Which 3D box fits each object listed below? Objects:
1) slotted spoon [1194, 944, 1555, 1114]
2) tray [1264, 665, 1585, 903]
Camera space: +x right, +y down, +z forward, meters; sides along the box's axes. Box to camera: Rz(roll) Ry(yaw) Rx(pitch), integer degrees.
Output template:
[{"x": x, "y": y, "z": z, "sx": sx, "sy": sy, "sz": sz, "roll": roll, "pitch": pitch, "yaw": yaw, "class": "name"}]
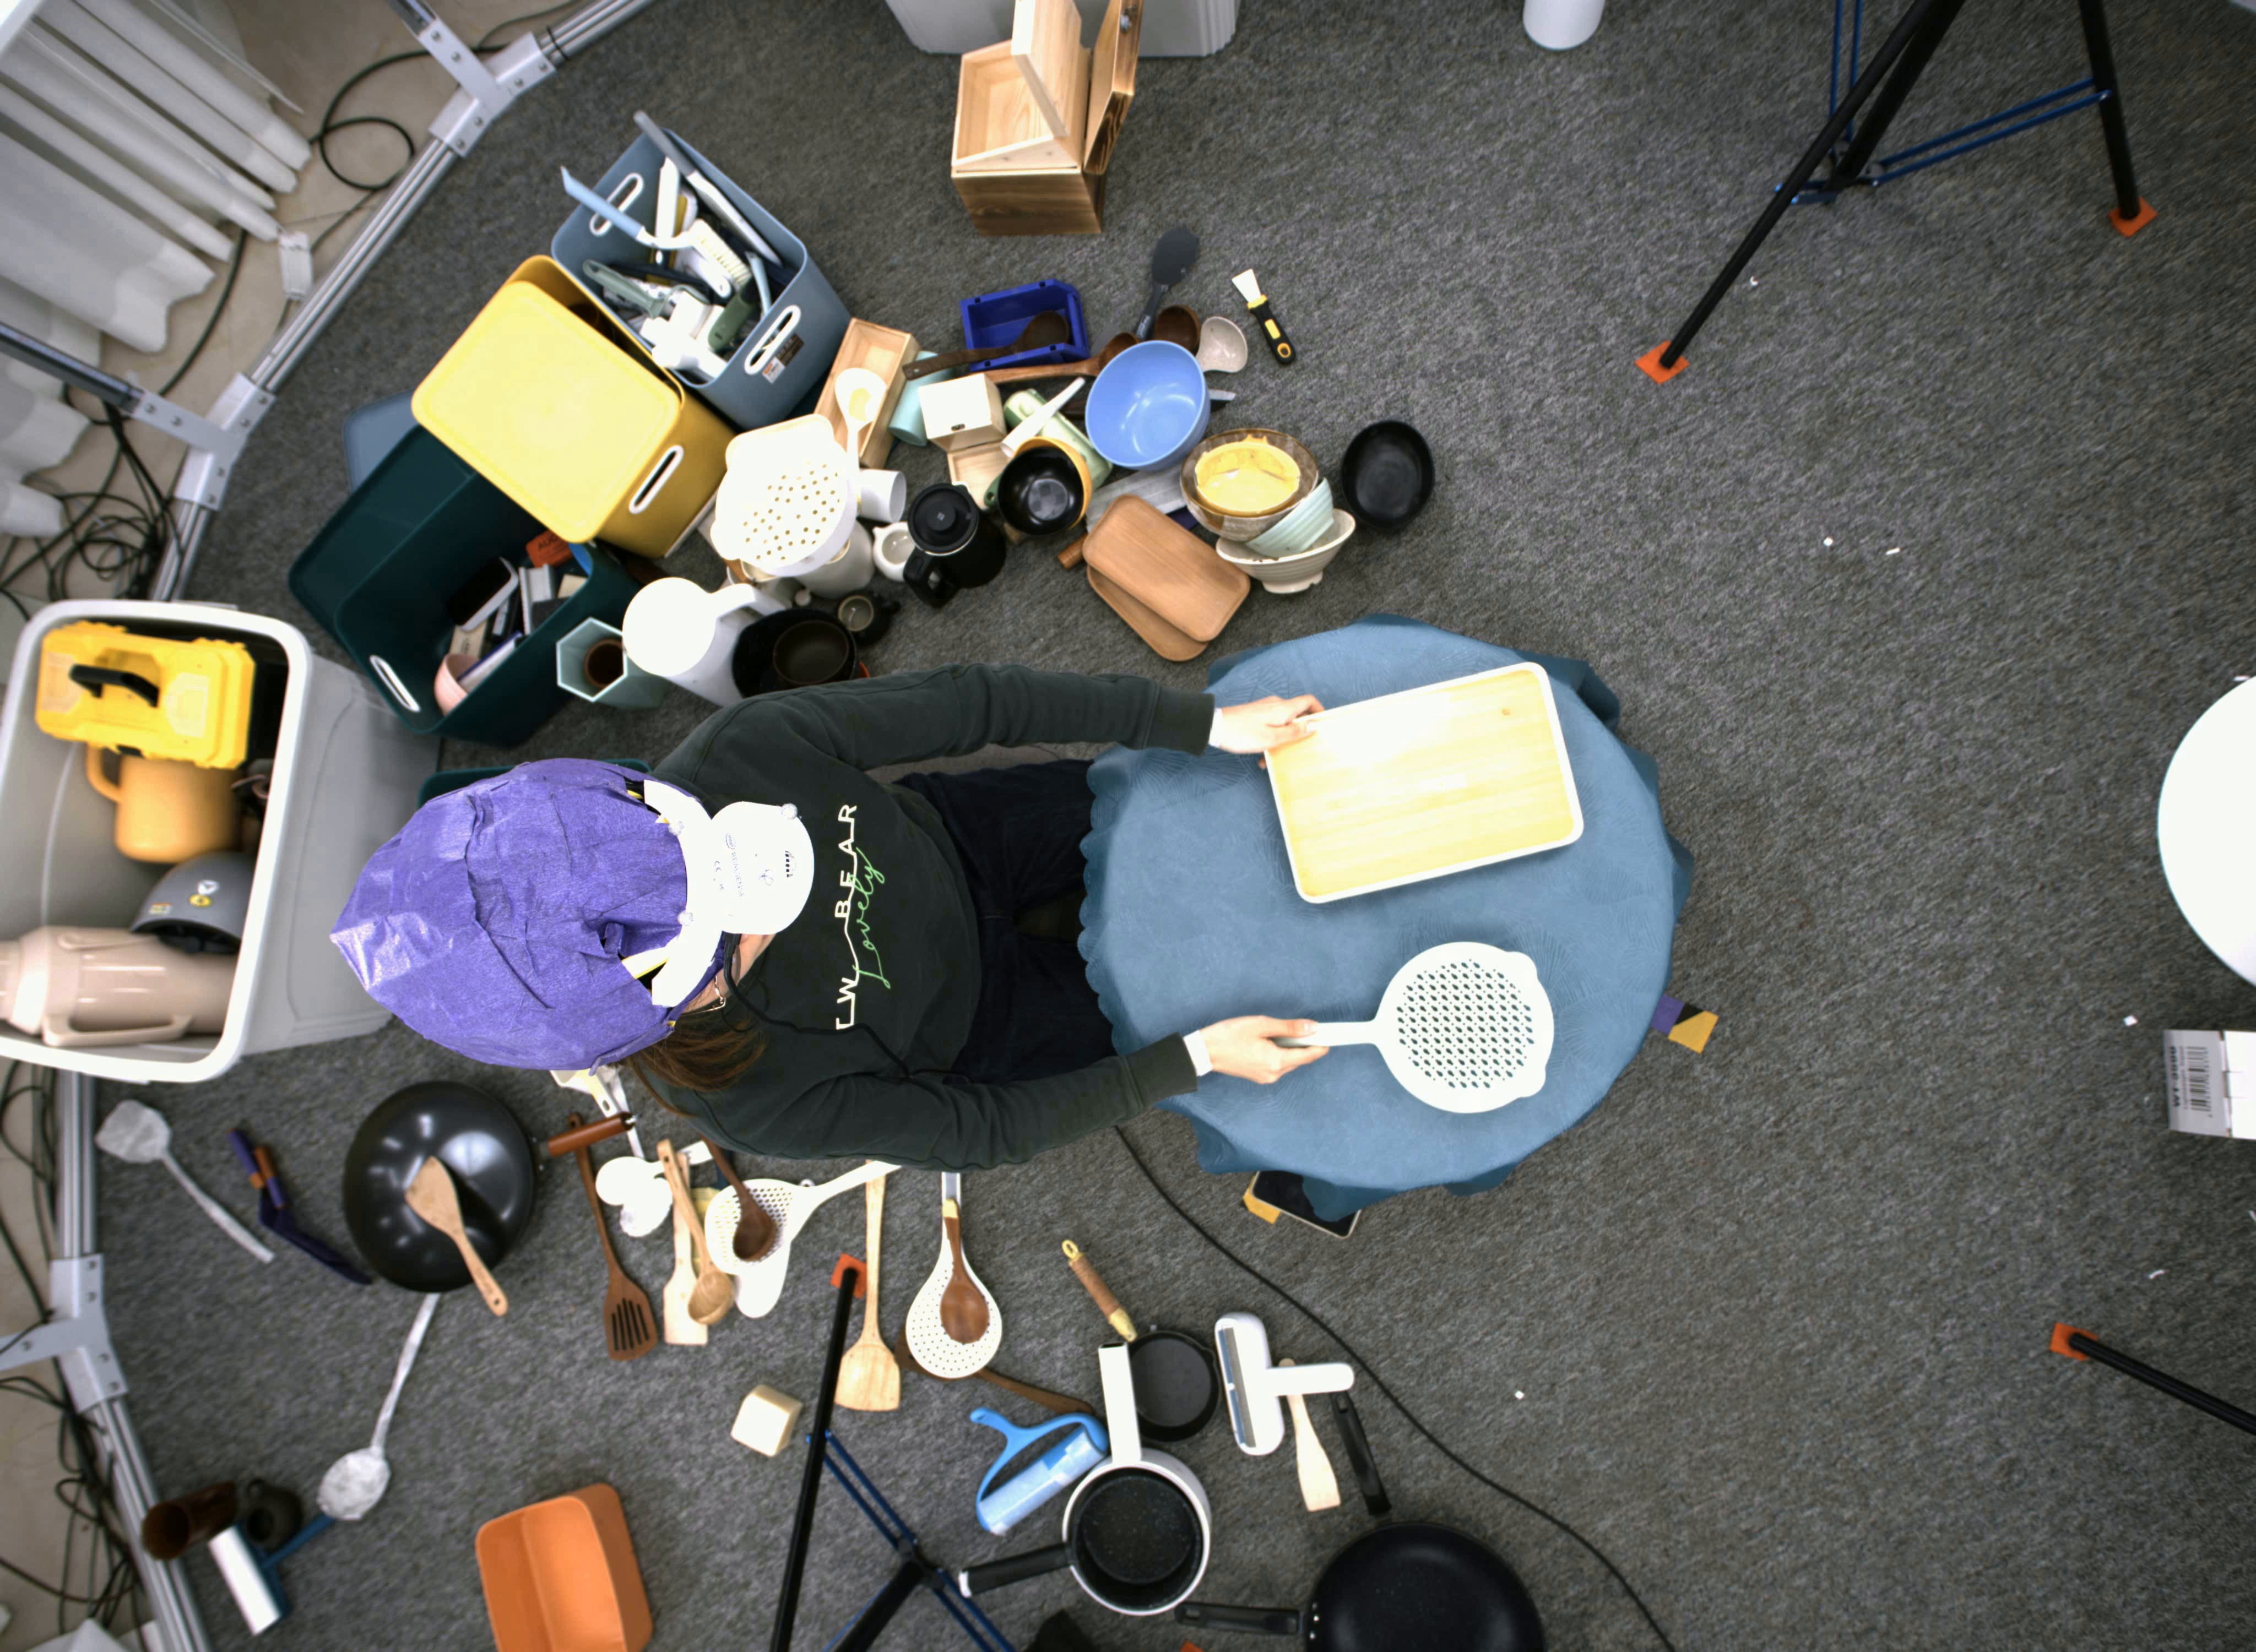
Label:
[{"x": 0.246, "y": 0.210, "z": 1.410, "sx": 0.360, "sy": 0.075, "sz": 0.168, "roll": -4, "pitch": 86, "yaw": 5, "class": "slotted spoon"}, {"x": 0.304, "y": -0.044, "z": 1.421, "sx": 0.301, "sy": 0.027, "sz": 0.191, "roll": -13, "pitch": 90, "yaw": 5, "class": "tray"}]
